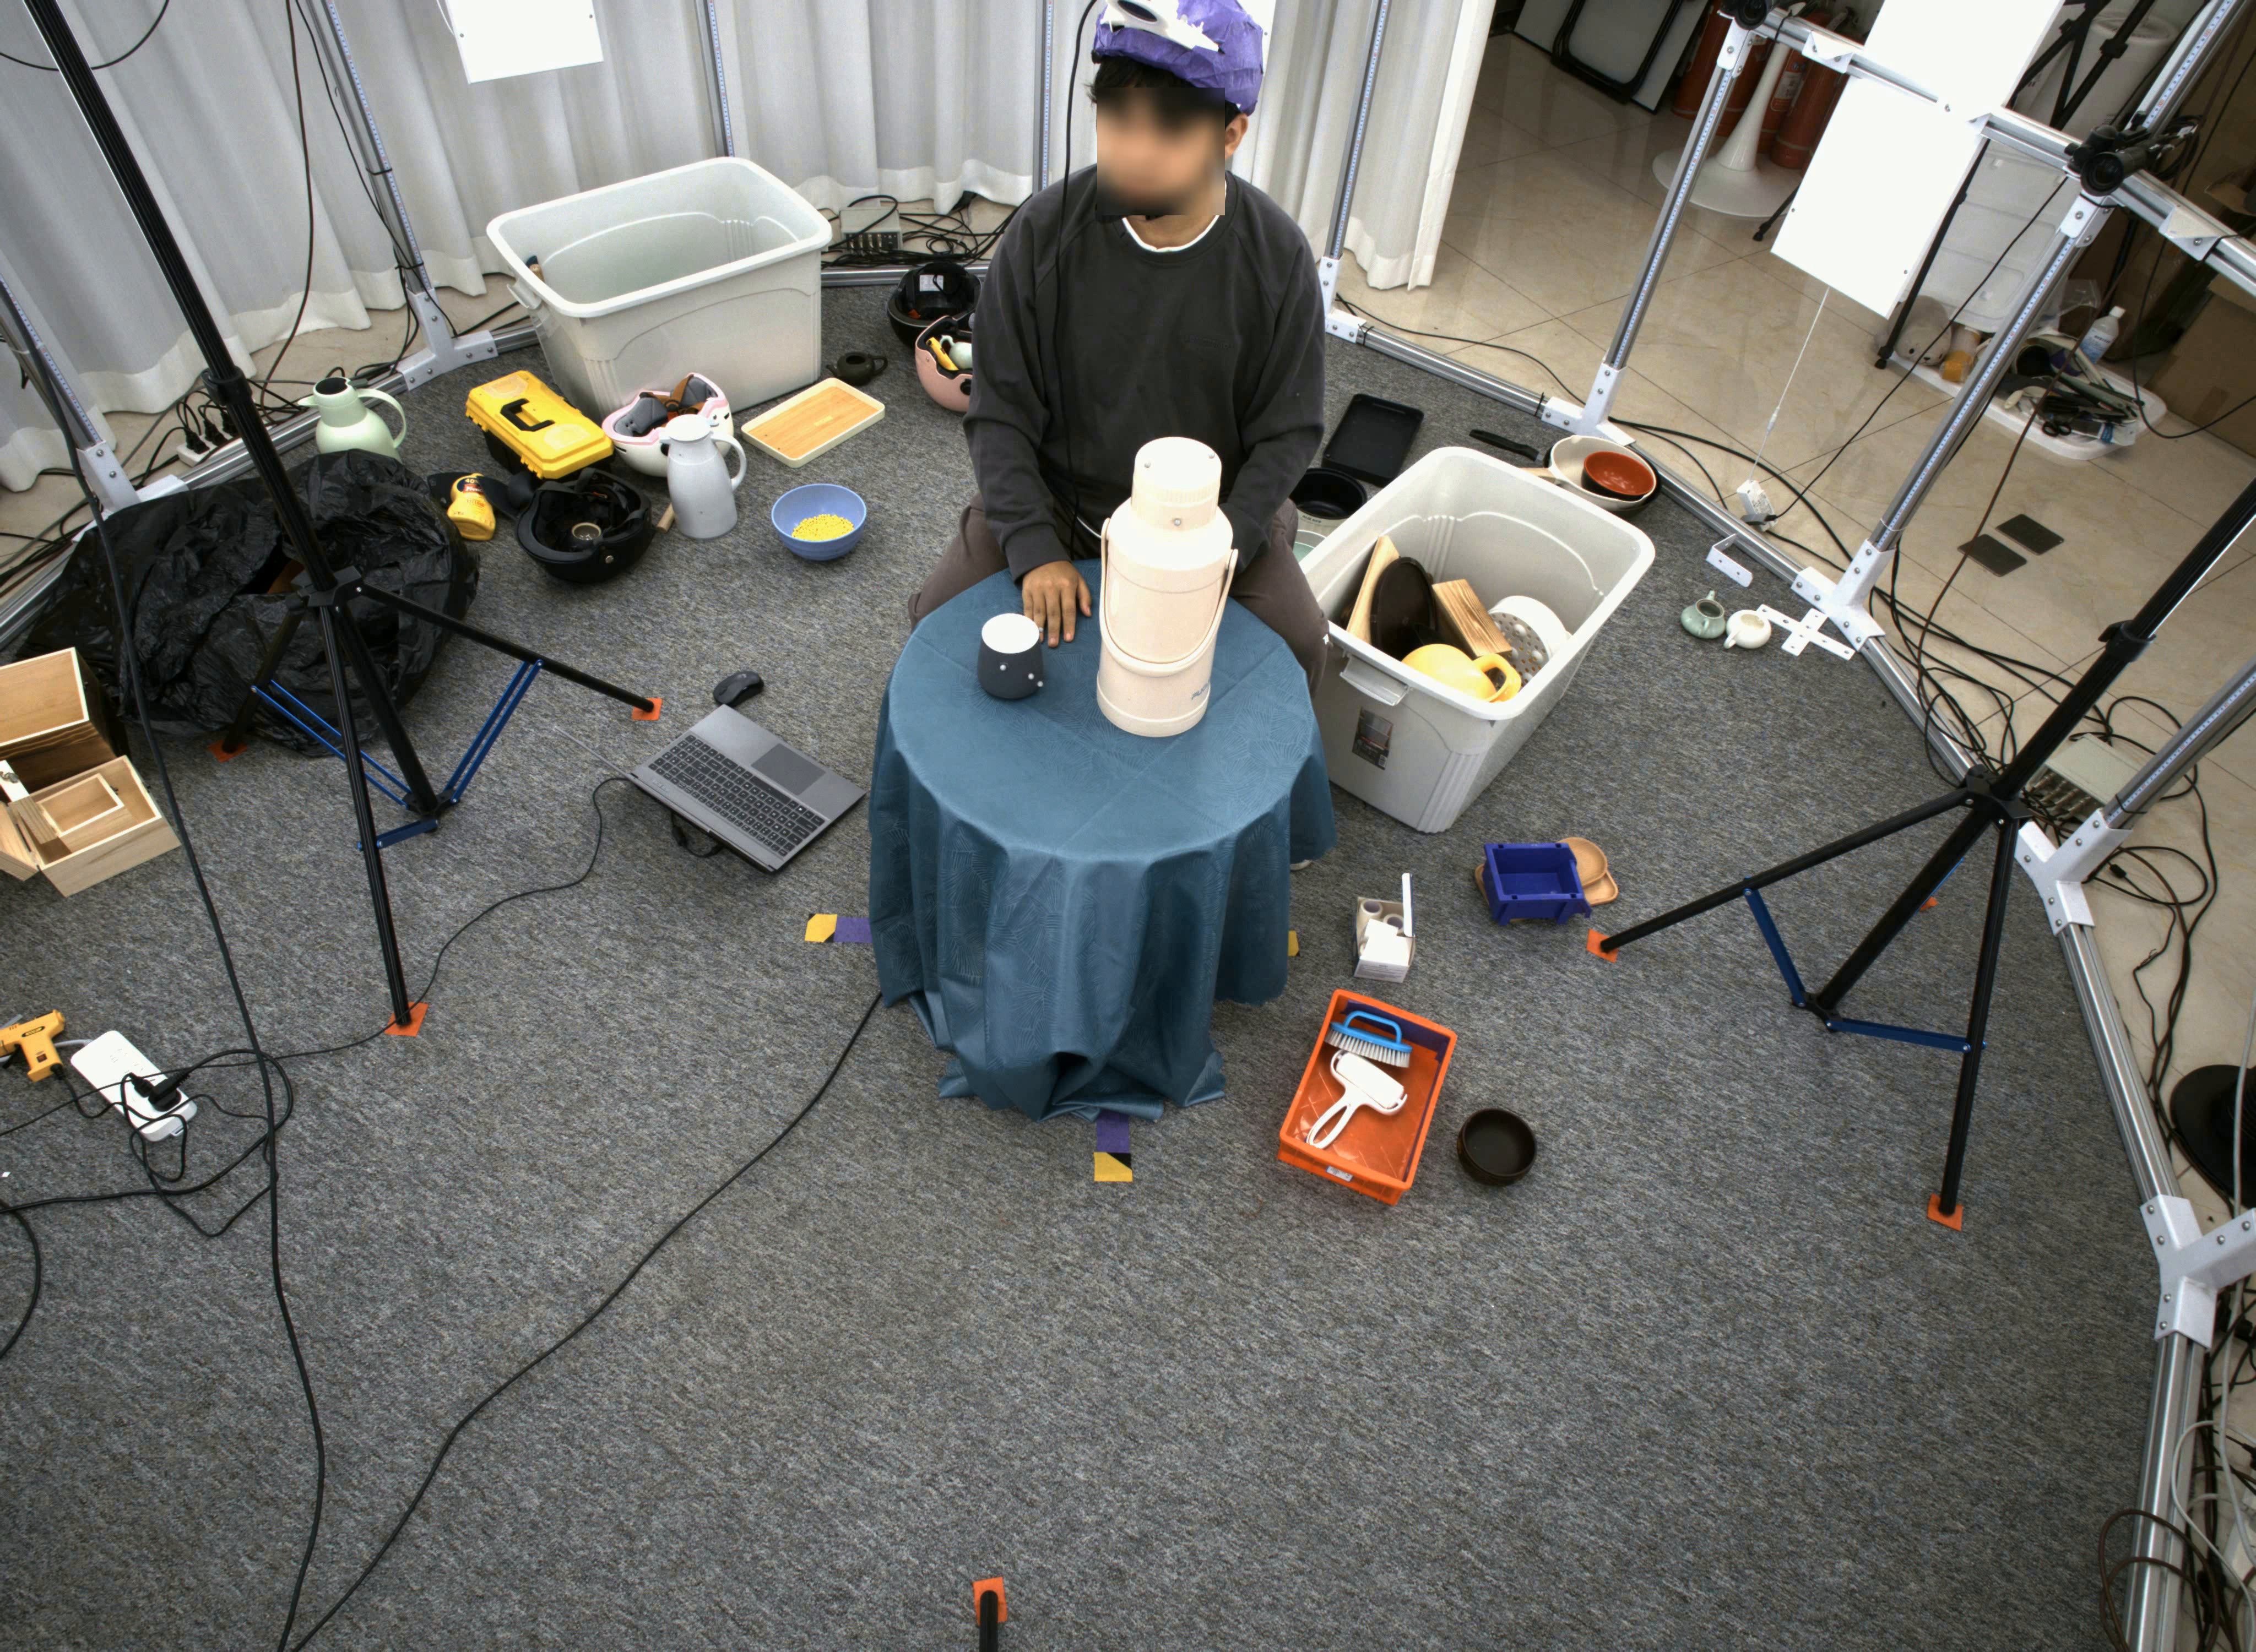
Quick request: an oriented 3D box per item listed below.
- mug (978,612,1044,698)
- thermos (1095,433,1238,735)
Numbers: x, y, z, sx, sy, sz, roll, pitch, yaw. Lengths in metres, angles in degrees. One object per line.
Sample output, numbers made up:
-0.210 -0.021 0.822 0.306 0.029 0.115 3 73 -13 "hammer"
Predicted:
-0.161 -0.249 1.810 0.093 0.088 0.126 10 49 3 "mug"
0.051 -0.321 1.692 0.176 0.396 0.211 15 50 8 "thermos"
